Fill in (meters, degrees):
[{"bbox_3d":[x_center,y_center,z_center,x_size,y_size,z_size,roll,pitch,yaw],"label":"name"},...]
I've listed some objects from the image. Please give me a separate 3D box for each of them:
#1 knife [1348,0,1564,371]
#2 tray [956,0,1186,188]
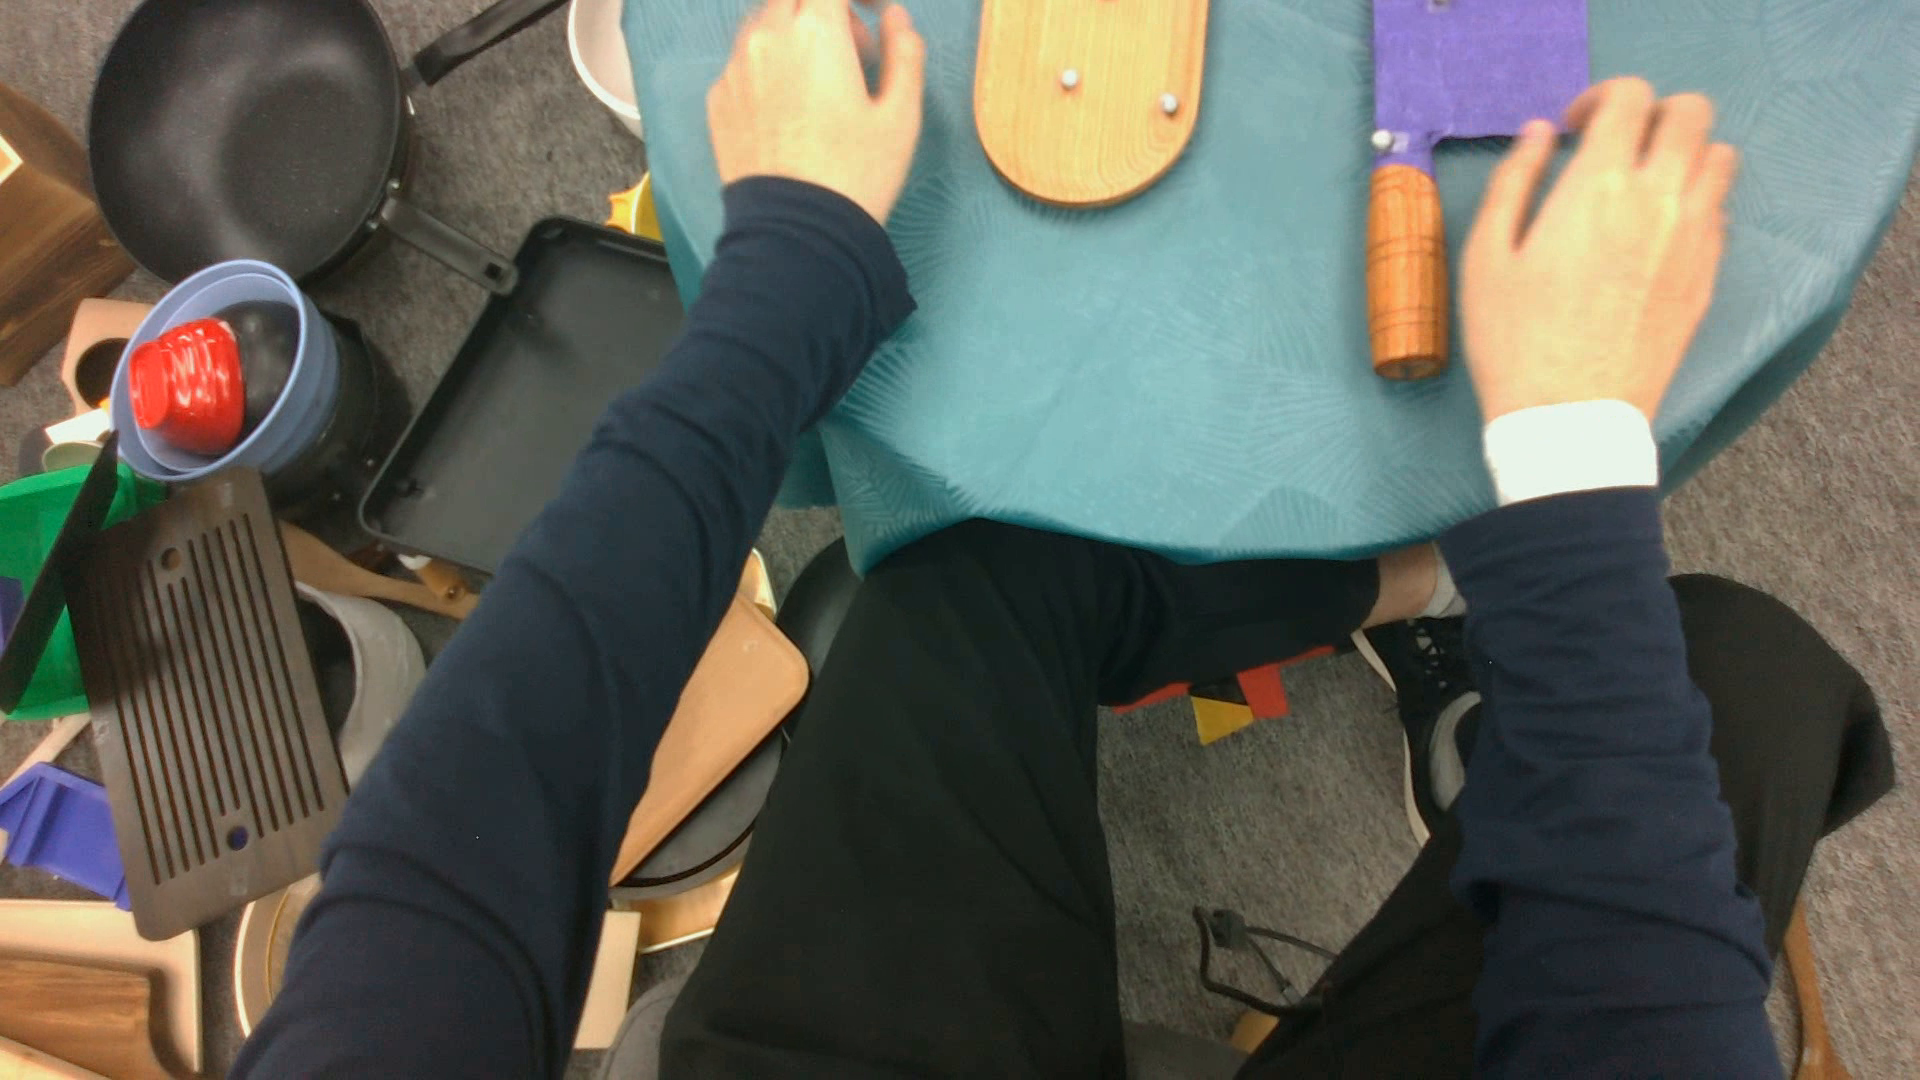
[{"bbox_3d":[0.213,-0.229,0.599,0.104,0.032,0.316,-1,79,7],"label":"knife"},{"bbox_3d":[0.053,-0.270,0.632,0.101,0.020,0.231,3,78,7],"label":"tray"}]
